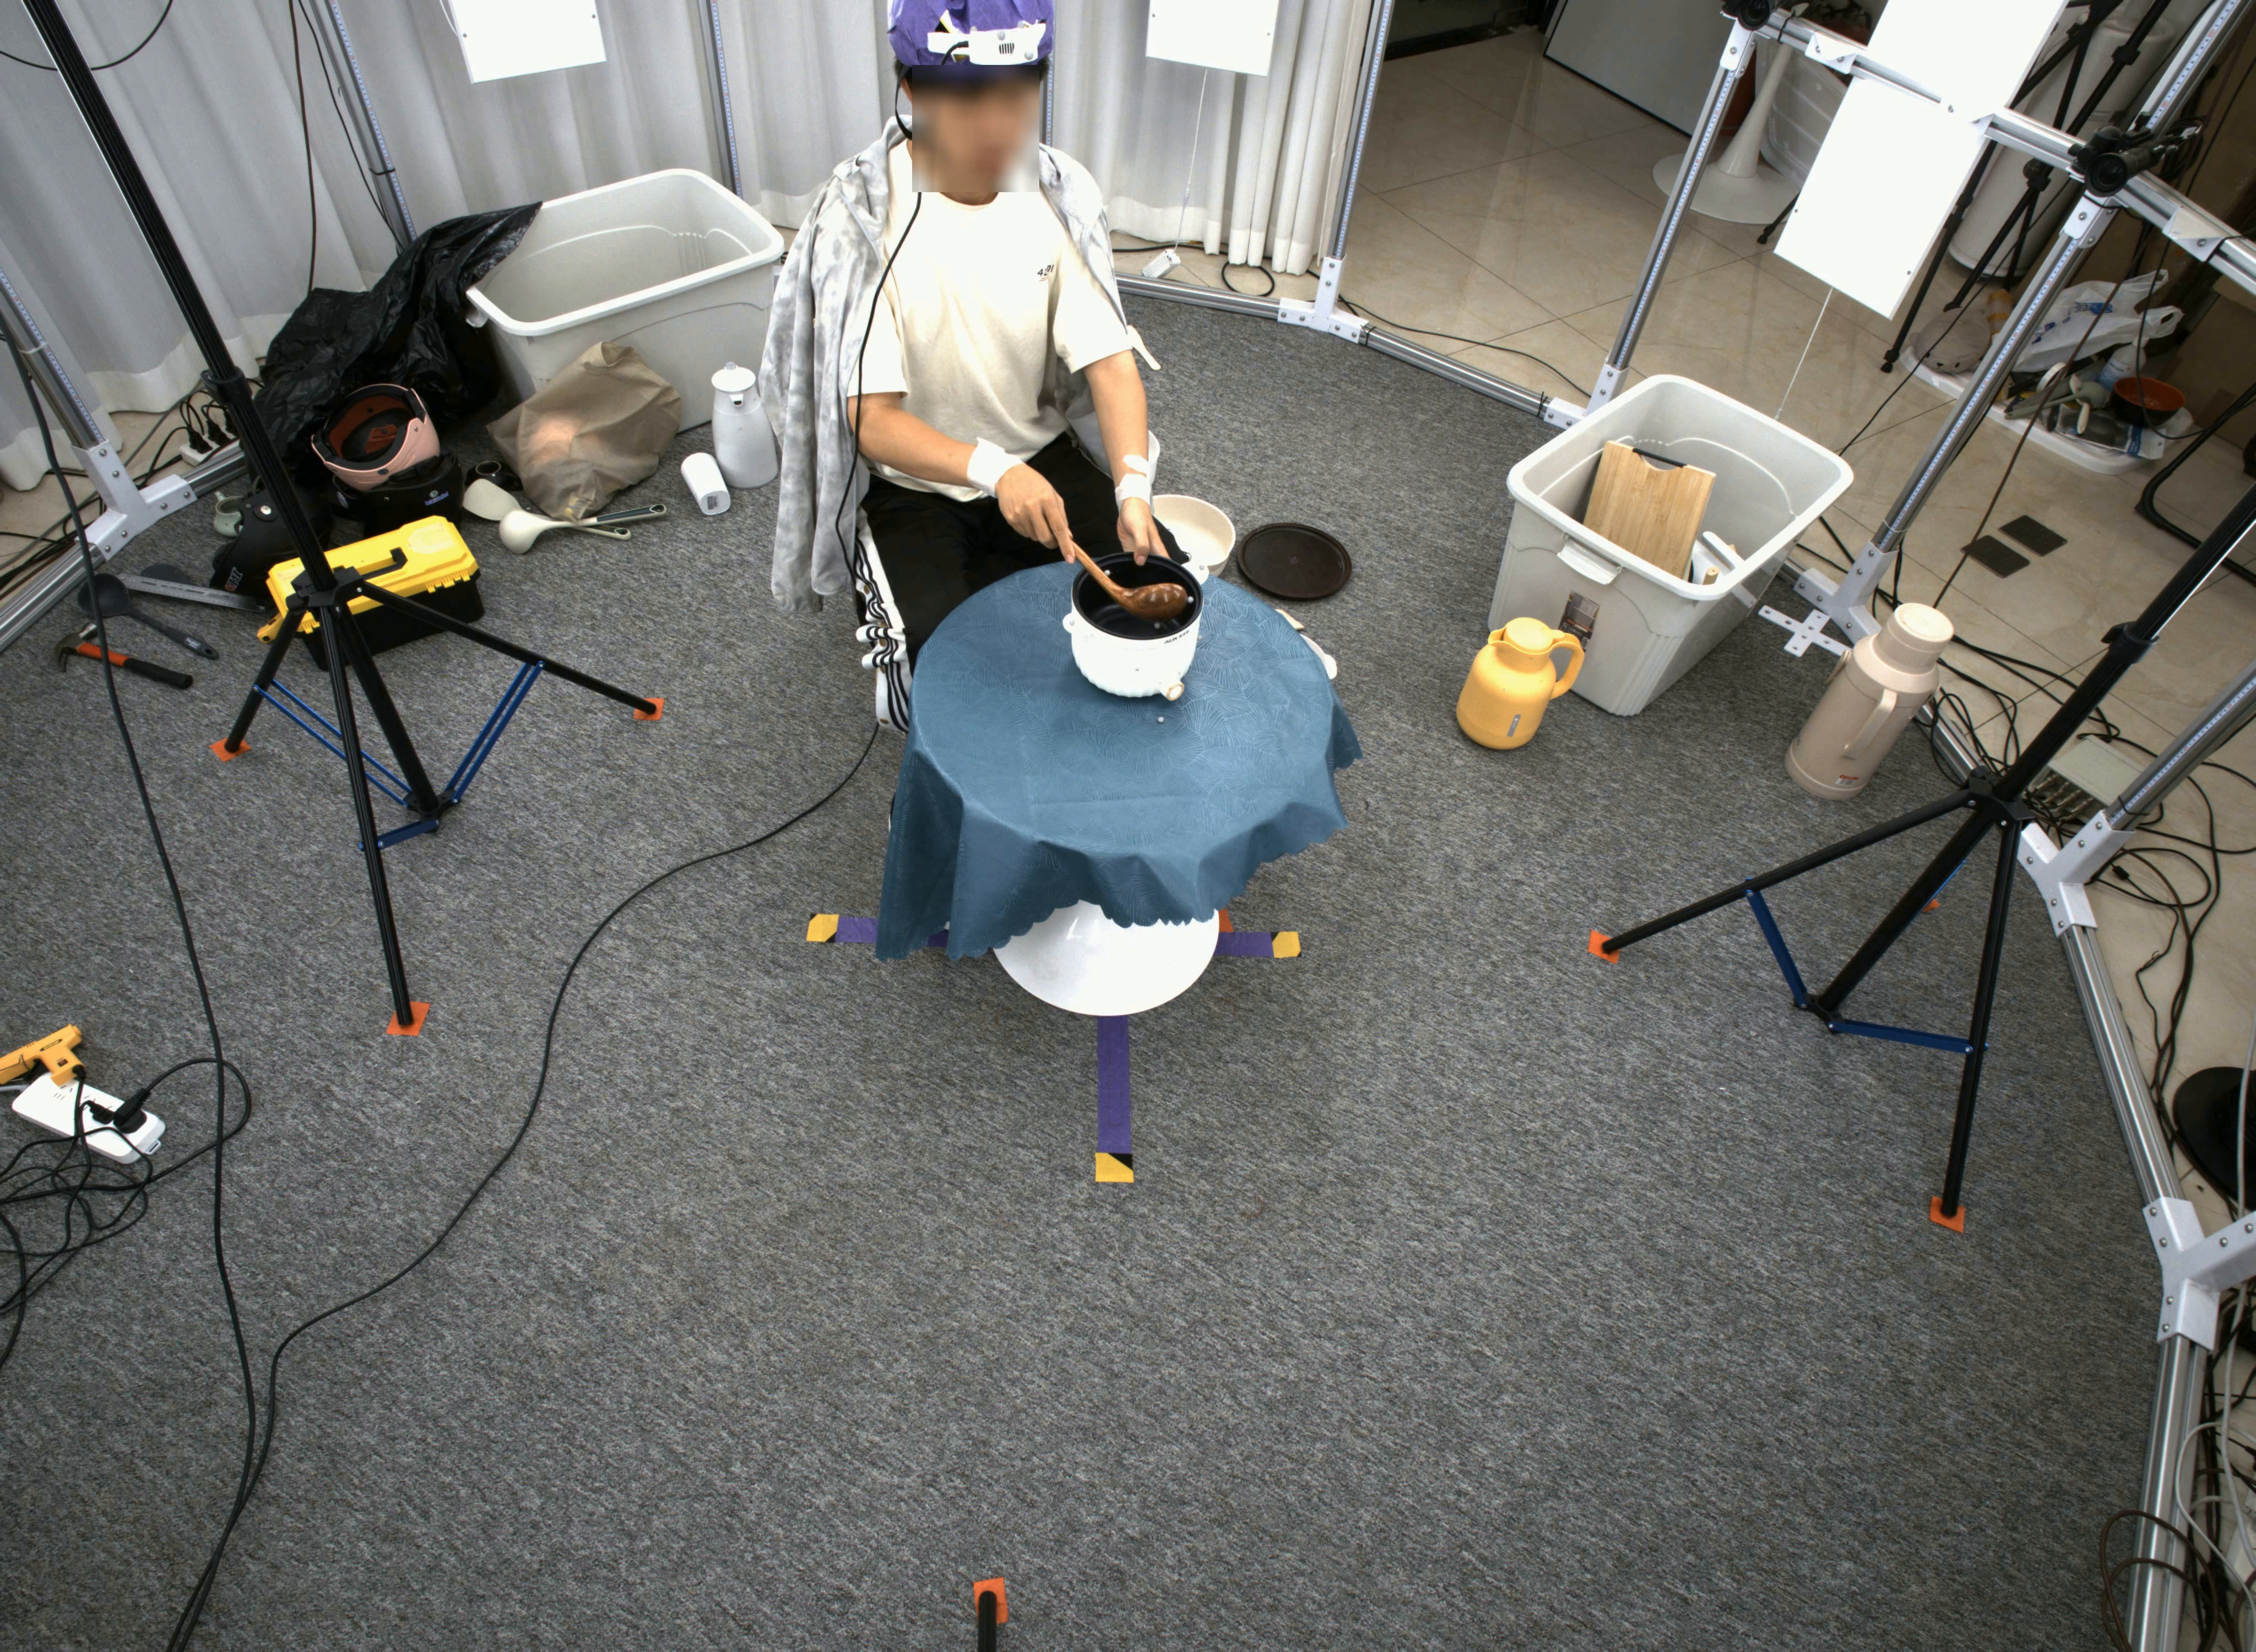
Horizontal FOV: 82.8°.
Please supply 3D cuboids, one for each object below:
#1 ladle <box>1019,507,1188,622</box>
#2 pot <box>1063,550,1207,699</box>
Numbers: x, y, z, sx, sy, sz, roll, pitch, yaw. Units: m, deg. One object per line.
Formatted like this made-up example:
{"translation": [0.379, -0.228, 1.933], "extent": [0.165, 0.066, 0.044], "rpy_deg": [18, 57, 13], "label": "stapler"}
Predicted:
{"translation": [-0.032, -0.373, 1.765], "extent": [0.077, 0.080, 0.278], "rpy_deg": [-40, 69, -15], "label": "ladle"}
{"translation": [0.014, -0.275, 1.811], "extent": [0.242, 0.139, 0.194], "rpy_deg": [-29, 53, -24], "label": "pot"}
